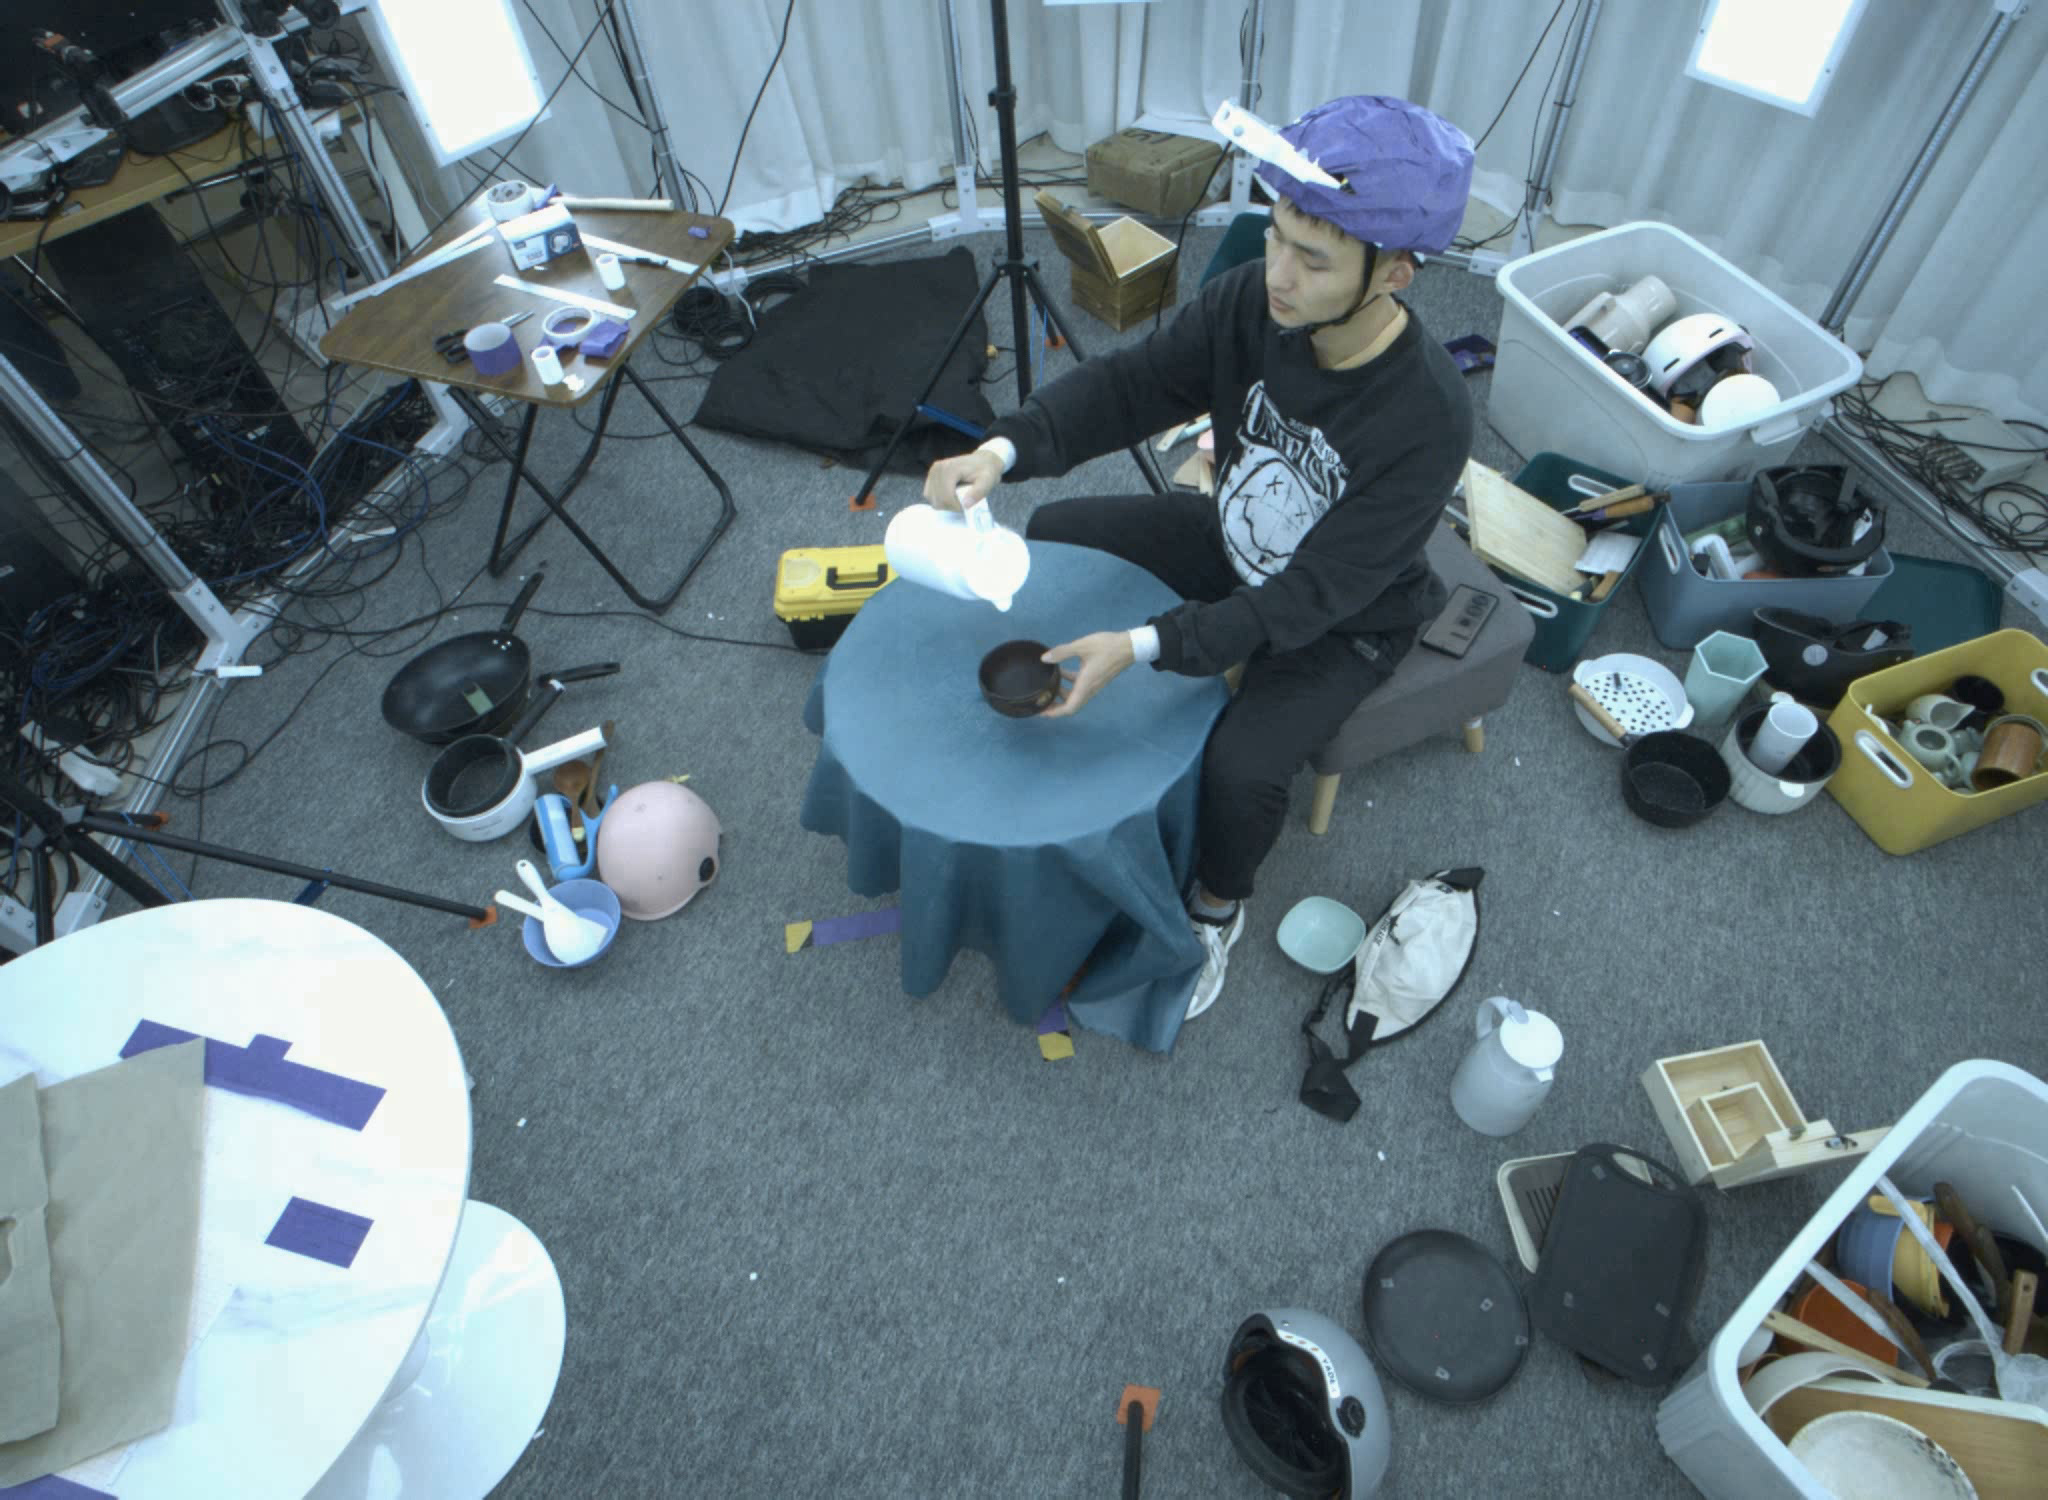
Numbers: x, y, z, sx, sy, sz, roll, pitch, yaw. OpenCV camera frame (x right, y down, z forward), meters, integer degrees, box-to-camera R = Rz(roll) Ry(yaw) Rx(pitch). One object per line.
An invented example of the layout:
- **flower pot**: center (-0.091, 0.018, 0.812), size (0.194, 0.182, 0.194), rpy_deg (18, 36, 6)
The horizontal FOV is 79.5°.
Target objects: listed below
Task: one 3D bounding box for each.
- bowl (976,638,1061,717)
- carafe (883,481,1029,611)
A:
- **bowl**: center (-0.005, -0.094, 1.737), size (0.117, 0.071, 0.117), rpy_deg (-5, 51, 7)
- **carafe**: center (-0.105, -0.295, 1.727), size (0.125, 0.175, 0.263), rpy_deg (-25, 26, -20)
